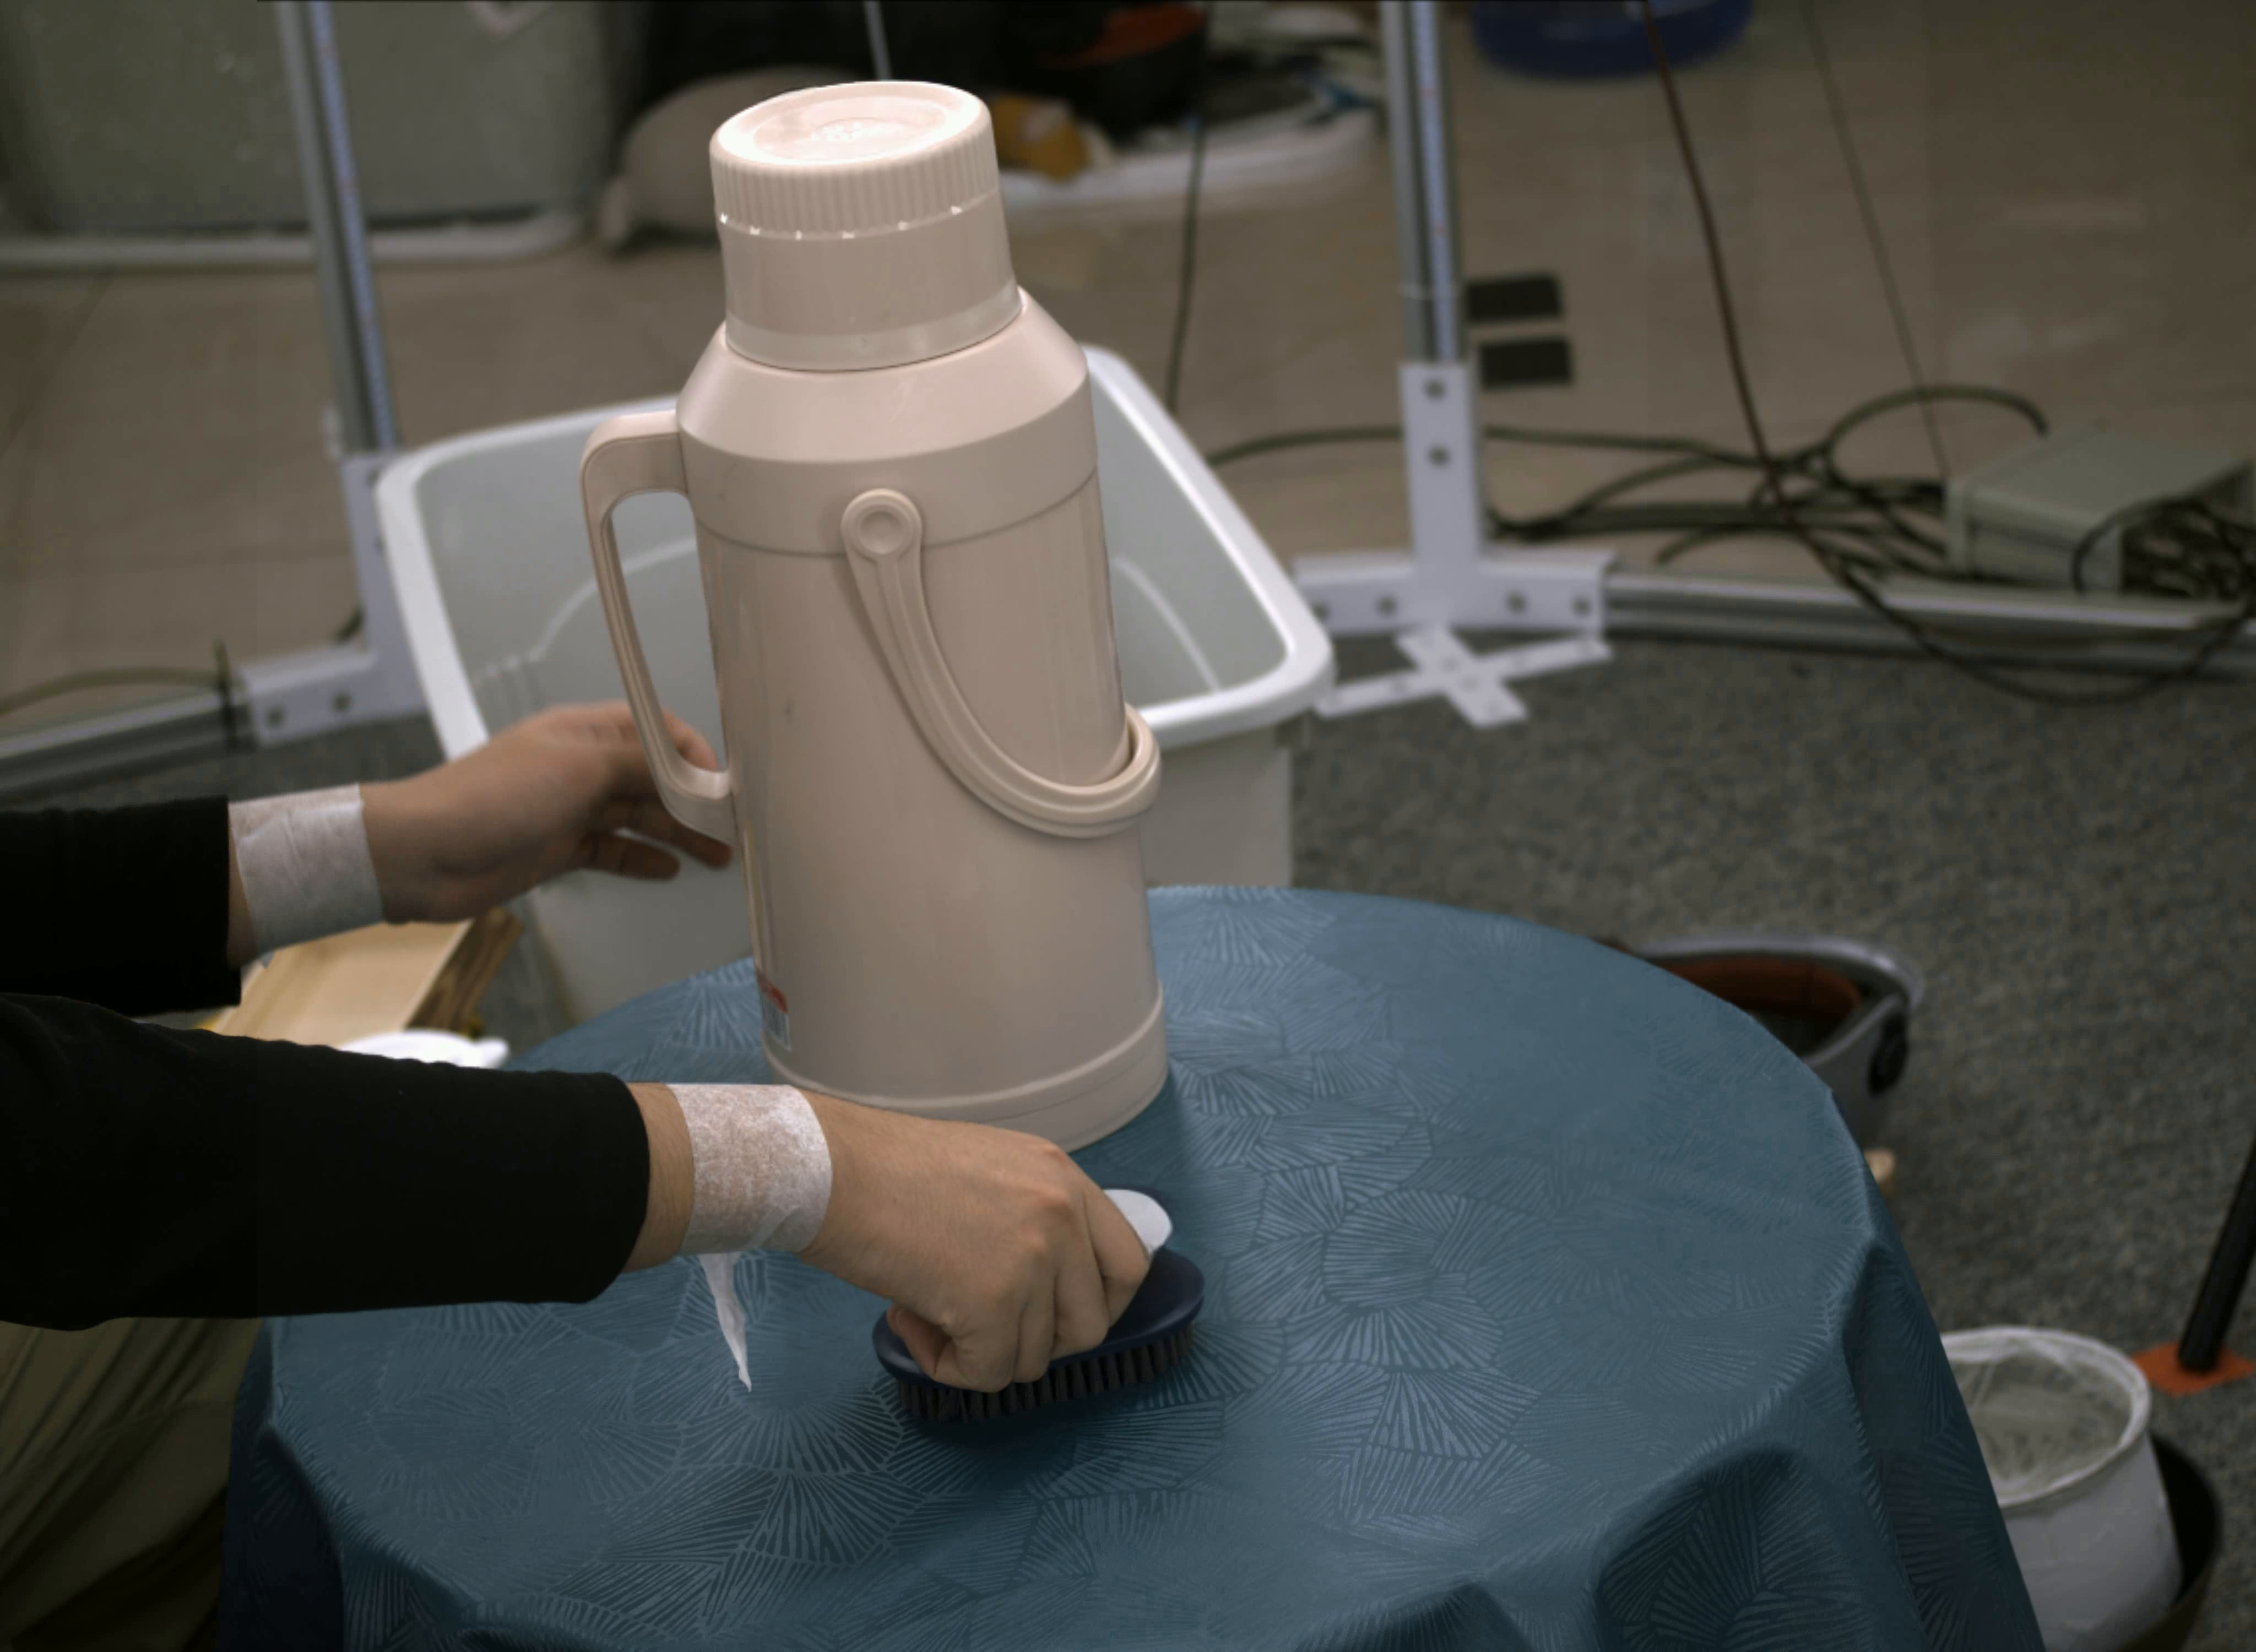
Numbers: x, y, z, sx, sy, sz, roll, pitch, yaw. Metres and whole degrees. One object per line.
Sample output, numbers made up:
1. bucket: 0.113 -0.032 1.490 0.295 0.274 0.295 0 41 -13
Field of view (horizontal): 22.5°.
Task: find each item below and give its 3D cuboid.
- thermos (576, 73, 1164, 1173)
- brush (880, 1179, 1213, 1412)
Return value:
1. thermos: -0.097 -0.077 2.158 0.207 0.413 0.172 -5 27 1
2. brush: -0.029 0.169 2.023 0.121 0.062 0.067 -11 24 -11
